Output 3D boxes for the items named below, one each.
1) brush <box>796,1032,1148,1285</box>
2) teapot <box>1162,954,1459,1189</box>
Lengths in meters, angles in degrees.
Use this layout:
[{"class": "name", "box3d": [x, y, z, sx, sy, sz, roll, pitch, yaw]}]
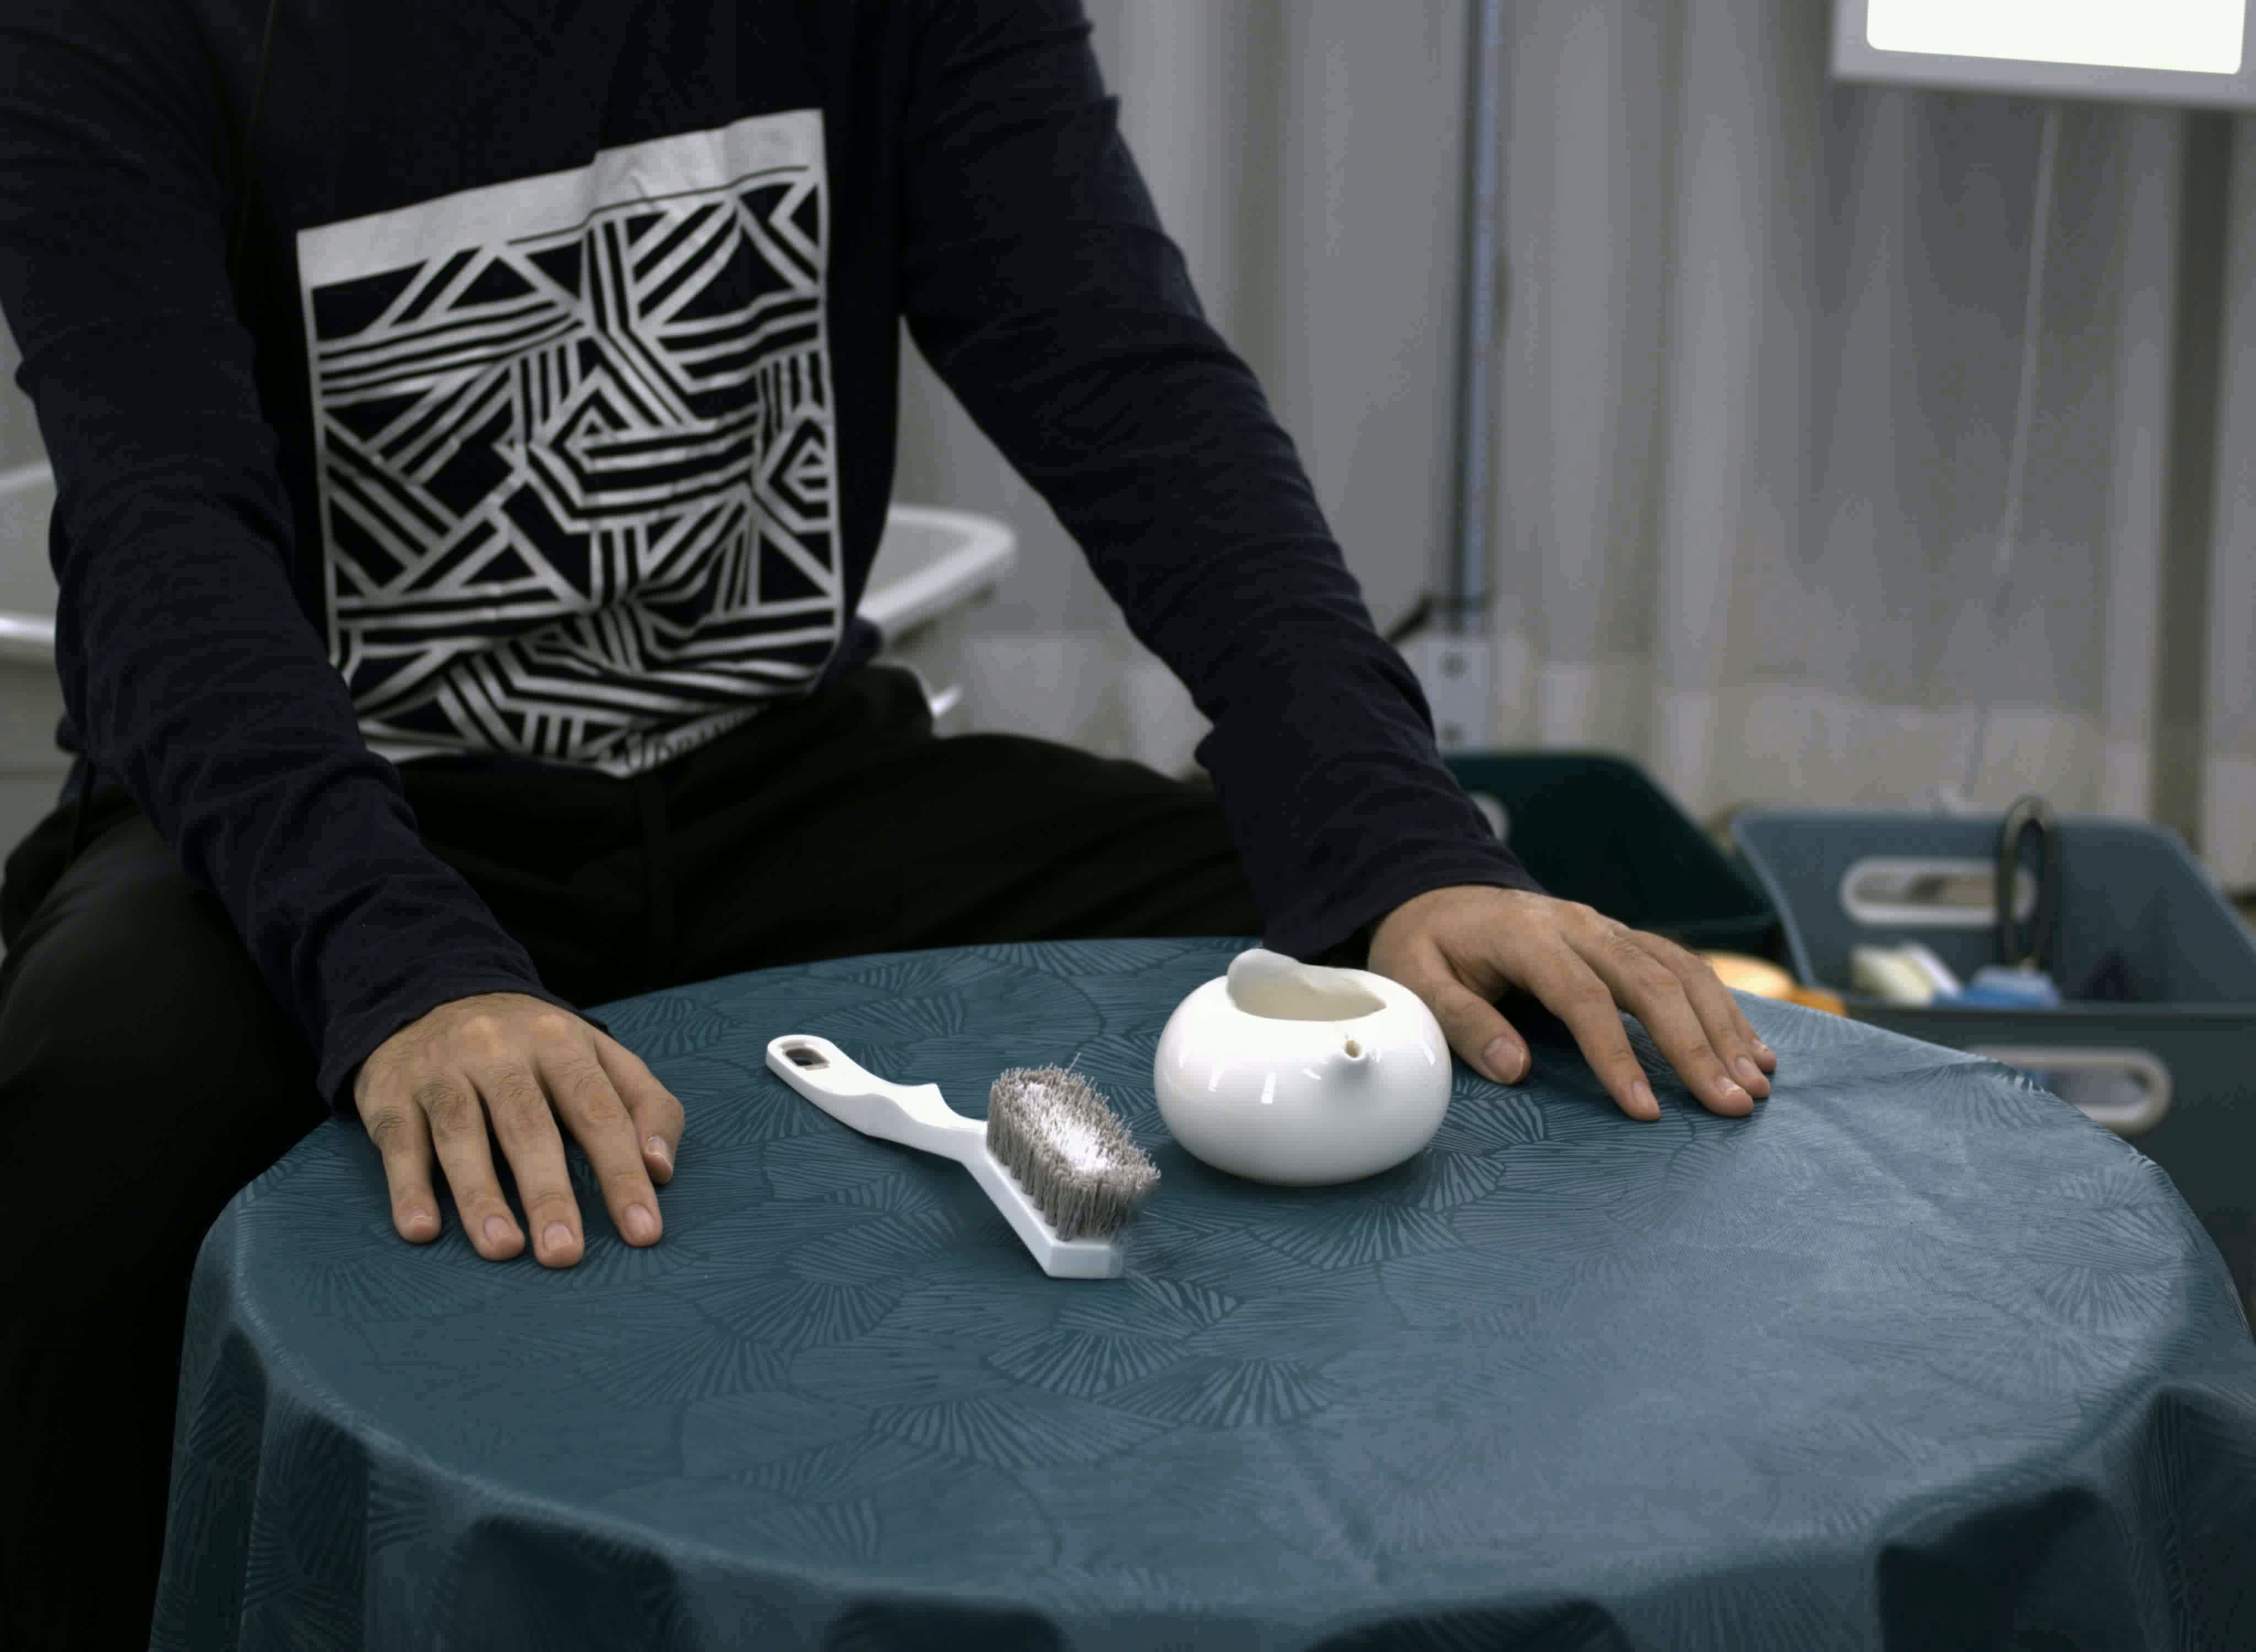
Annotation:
[{"class": "brush", "box3d": [-0.055, 0.083, 1.639, 0.034, 0.050, 0.241, -11, 19, -22]}, {"class": "teapot", "box3d": [0.053, 0.076, 1.659, 0.093, 0.057, 0.126, -11, 16, -19]}]
